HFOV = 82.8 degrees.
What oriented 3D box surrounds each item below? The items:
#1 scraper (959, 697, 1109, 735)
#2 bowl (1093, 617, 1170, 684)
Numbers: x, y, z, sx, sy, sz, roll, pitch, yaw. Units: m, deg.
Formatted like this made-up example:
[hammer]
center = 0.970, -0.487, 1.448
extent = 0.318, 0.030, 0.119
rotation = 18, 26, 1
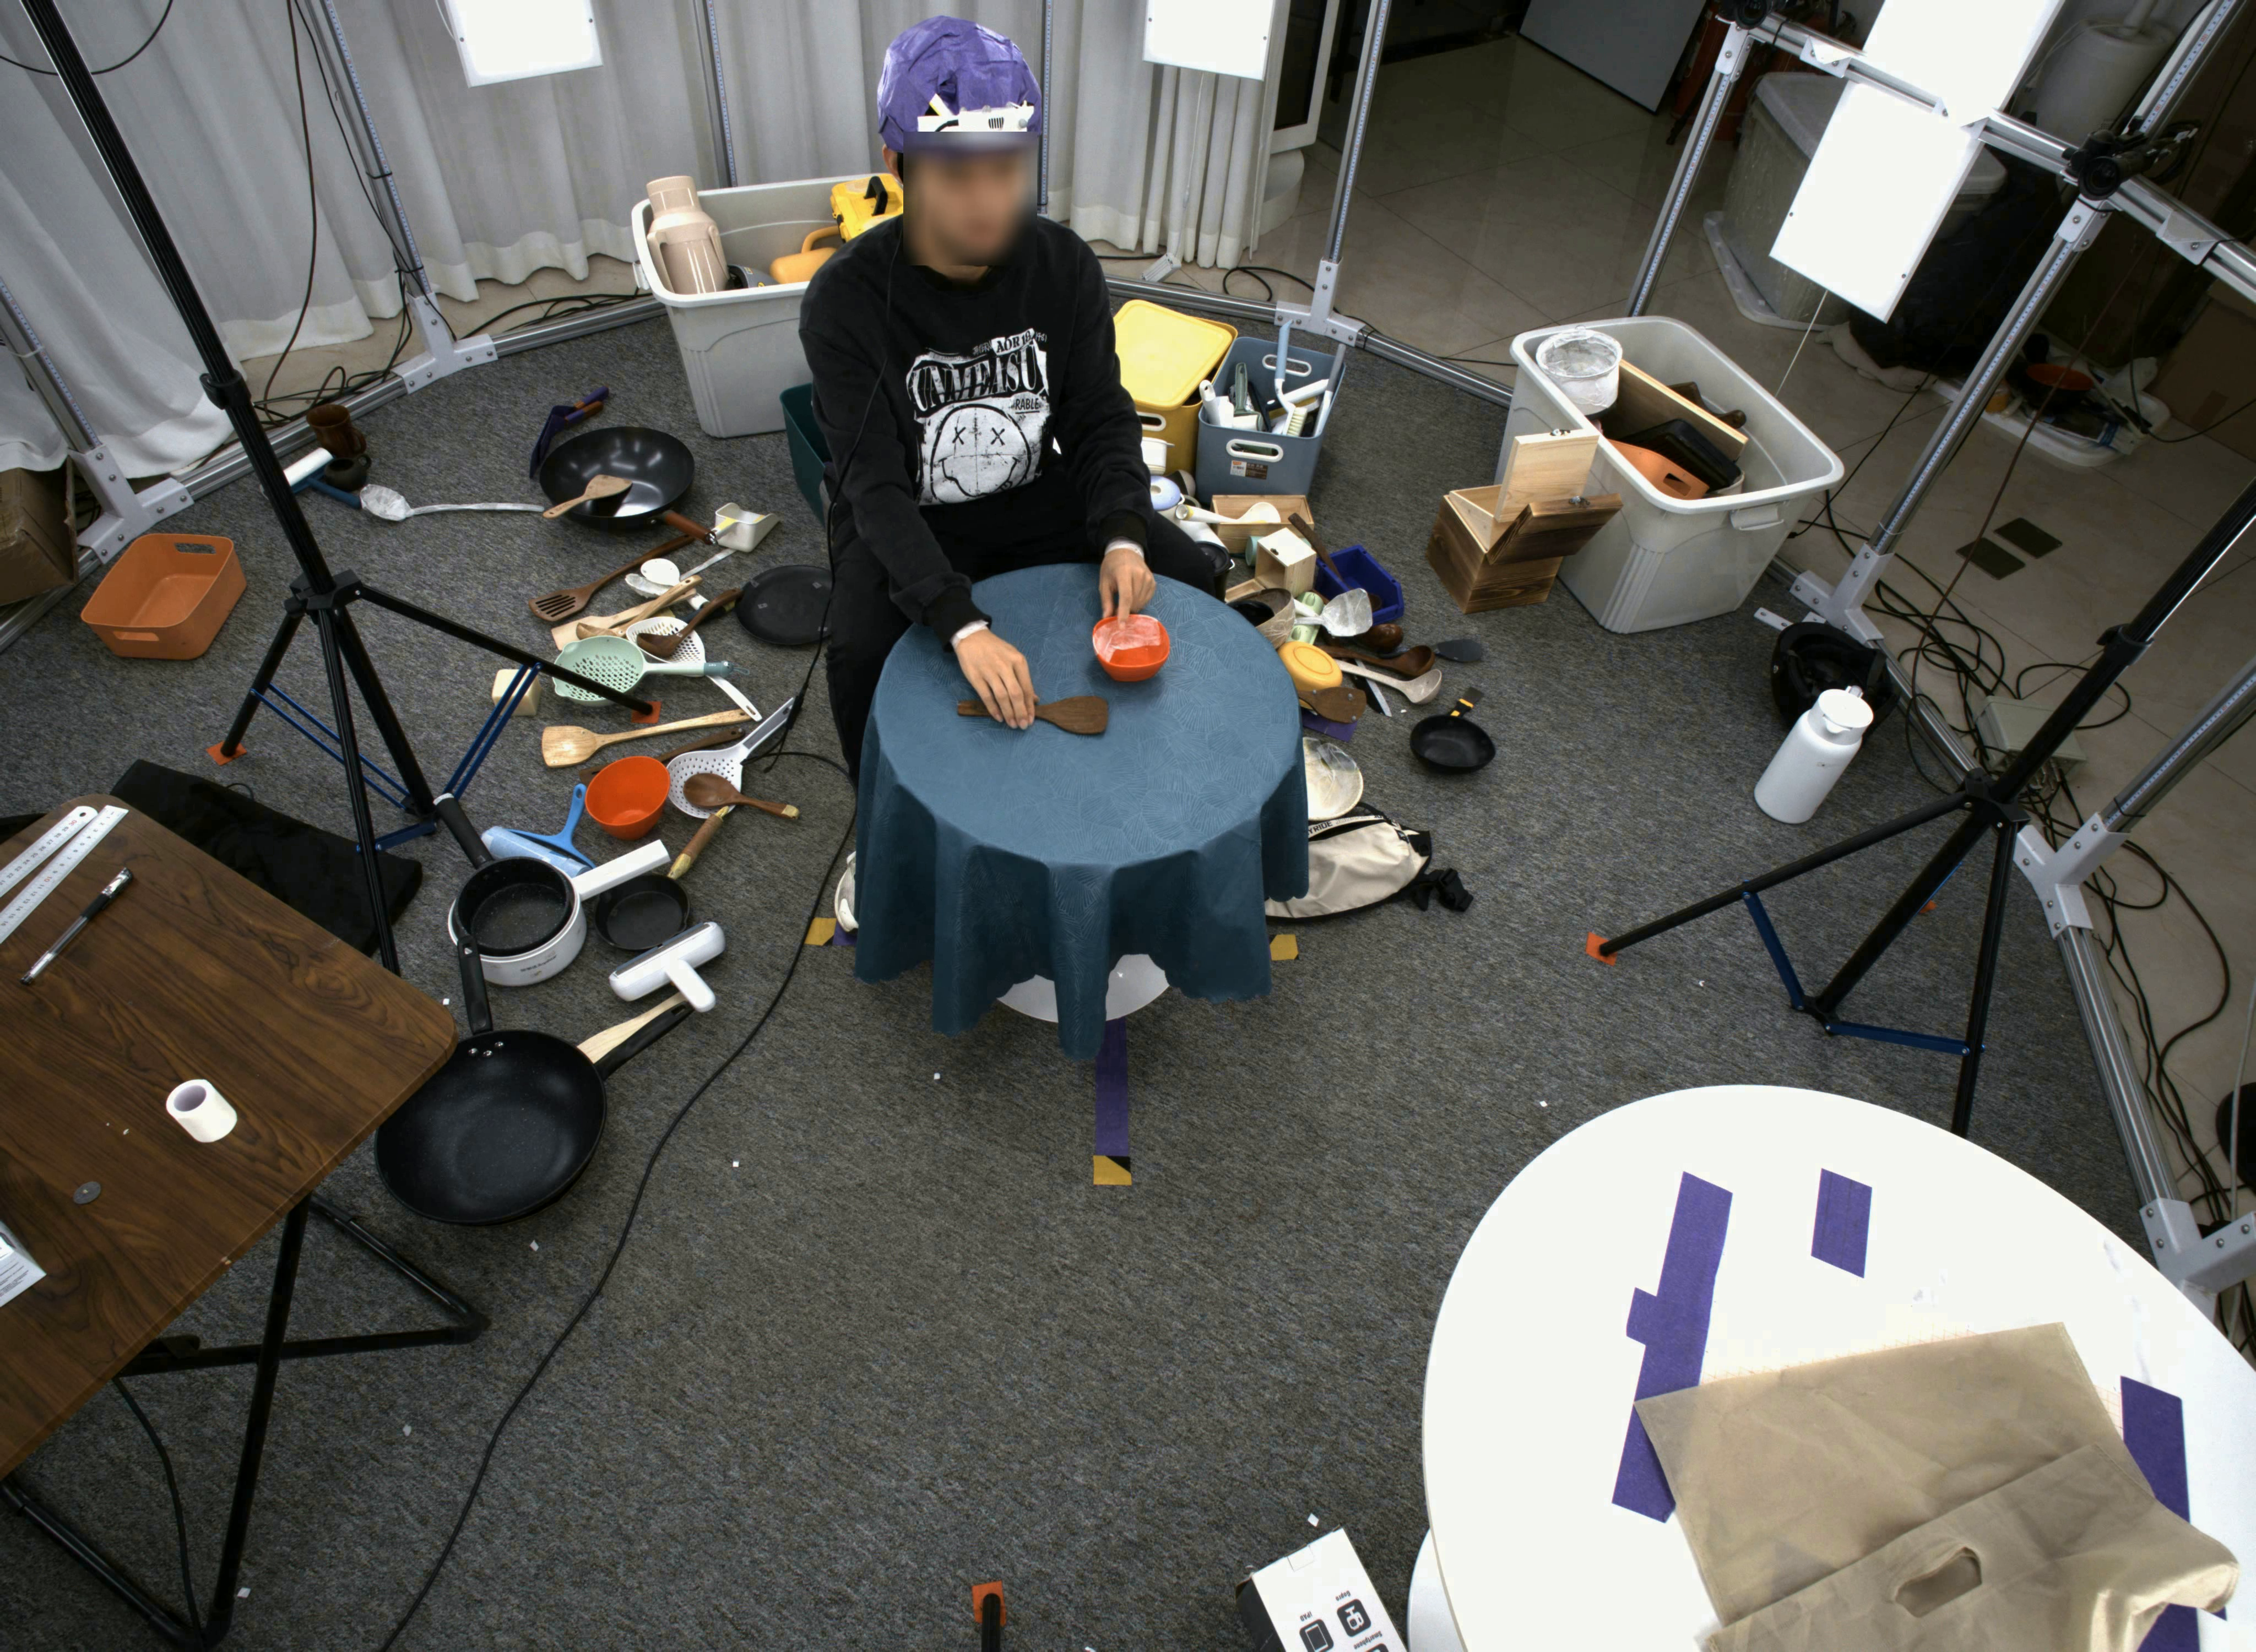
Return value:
[scraper]
center = -0.132, -0.159, 1.809
extent = 0.211, 0.010, 0.078
rotation = 3, 48, 0
[bowl]
center = 0.004, -0.249, 1.870
extent = 0.119, 0.050, 0.122
rotation = 2, 50, -2
